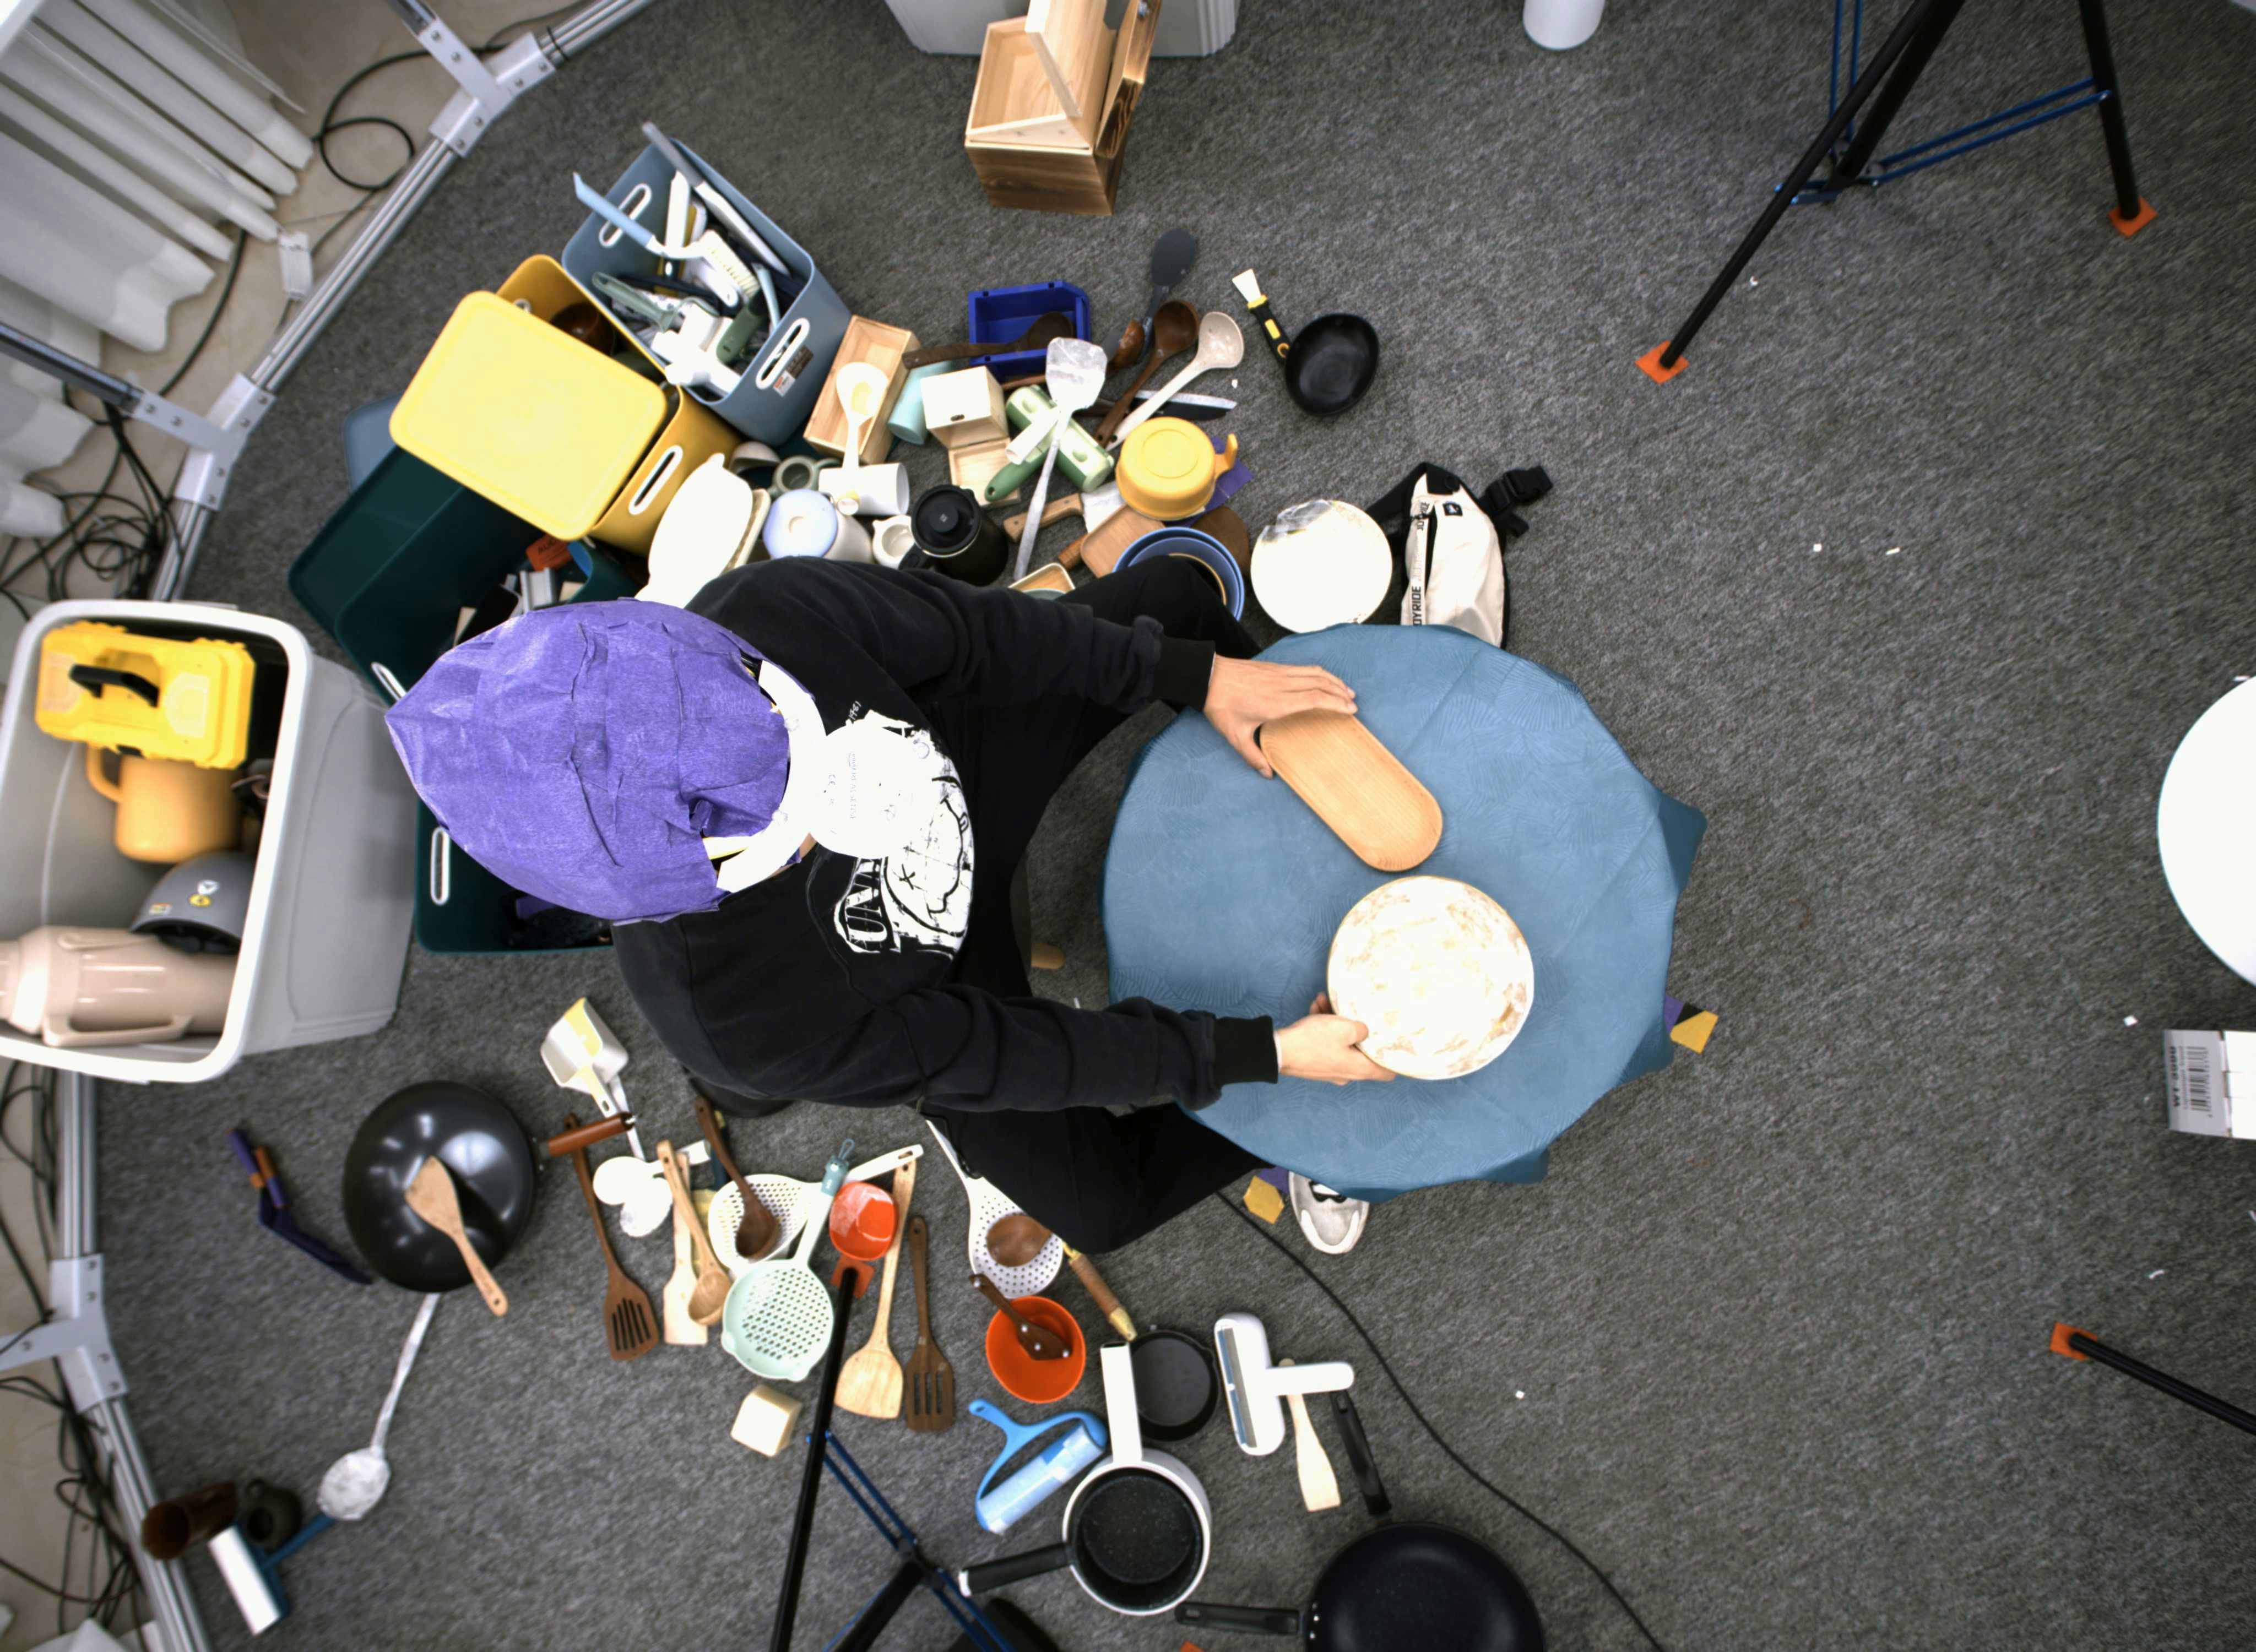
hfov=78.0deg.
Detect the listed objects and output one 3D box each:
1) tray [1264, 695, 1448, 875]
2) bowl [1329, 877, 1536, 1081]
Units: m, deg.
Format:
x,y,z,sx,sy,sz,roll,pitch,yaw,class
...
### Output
x,y,z,sx,sy,sz,roll,pitch,yaw,class
0.242,-0.045,1.469,0.230,0.020,0.102,45,97,7,tray
0.305,0.150,1.405,0.215,0.094,0.214,-1,87,12,bowl
